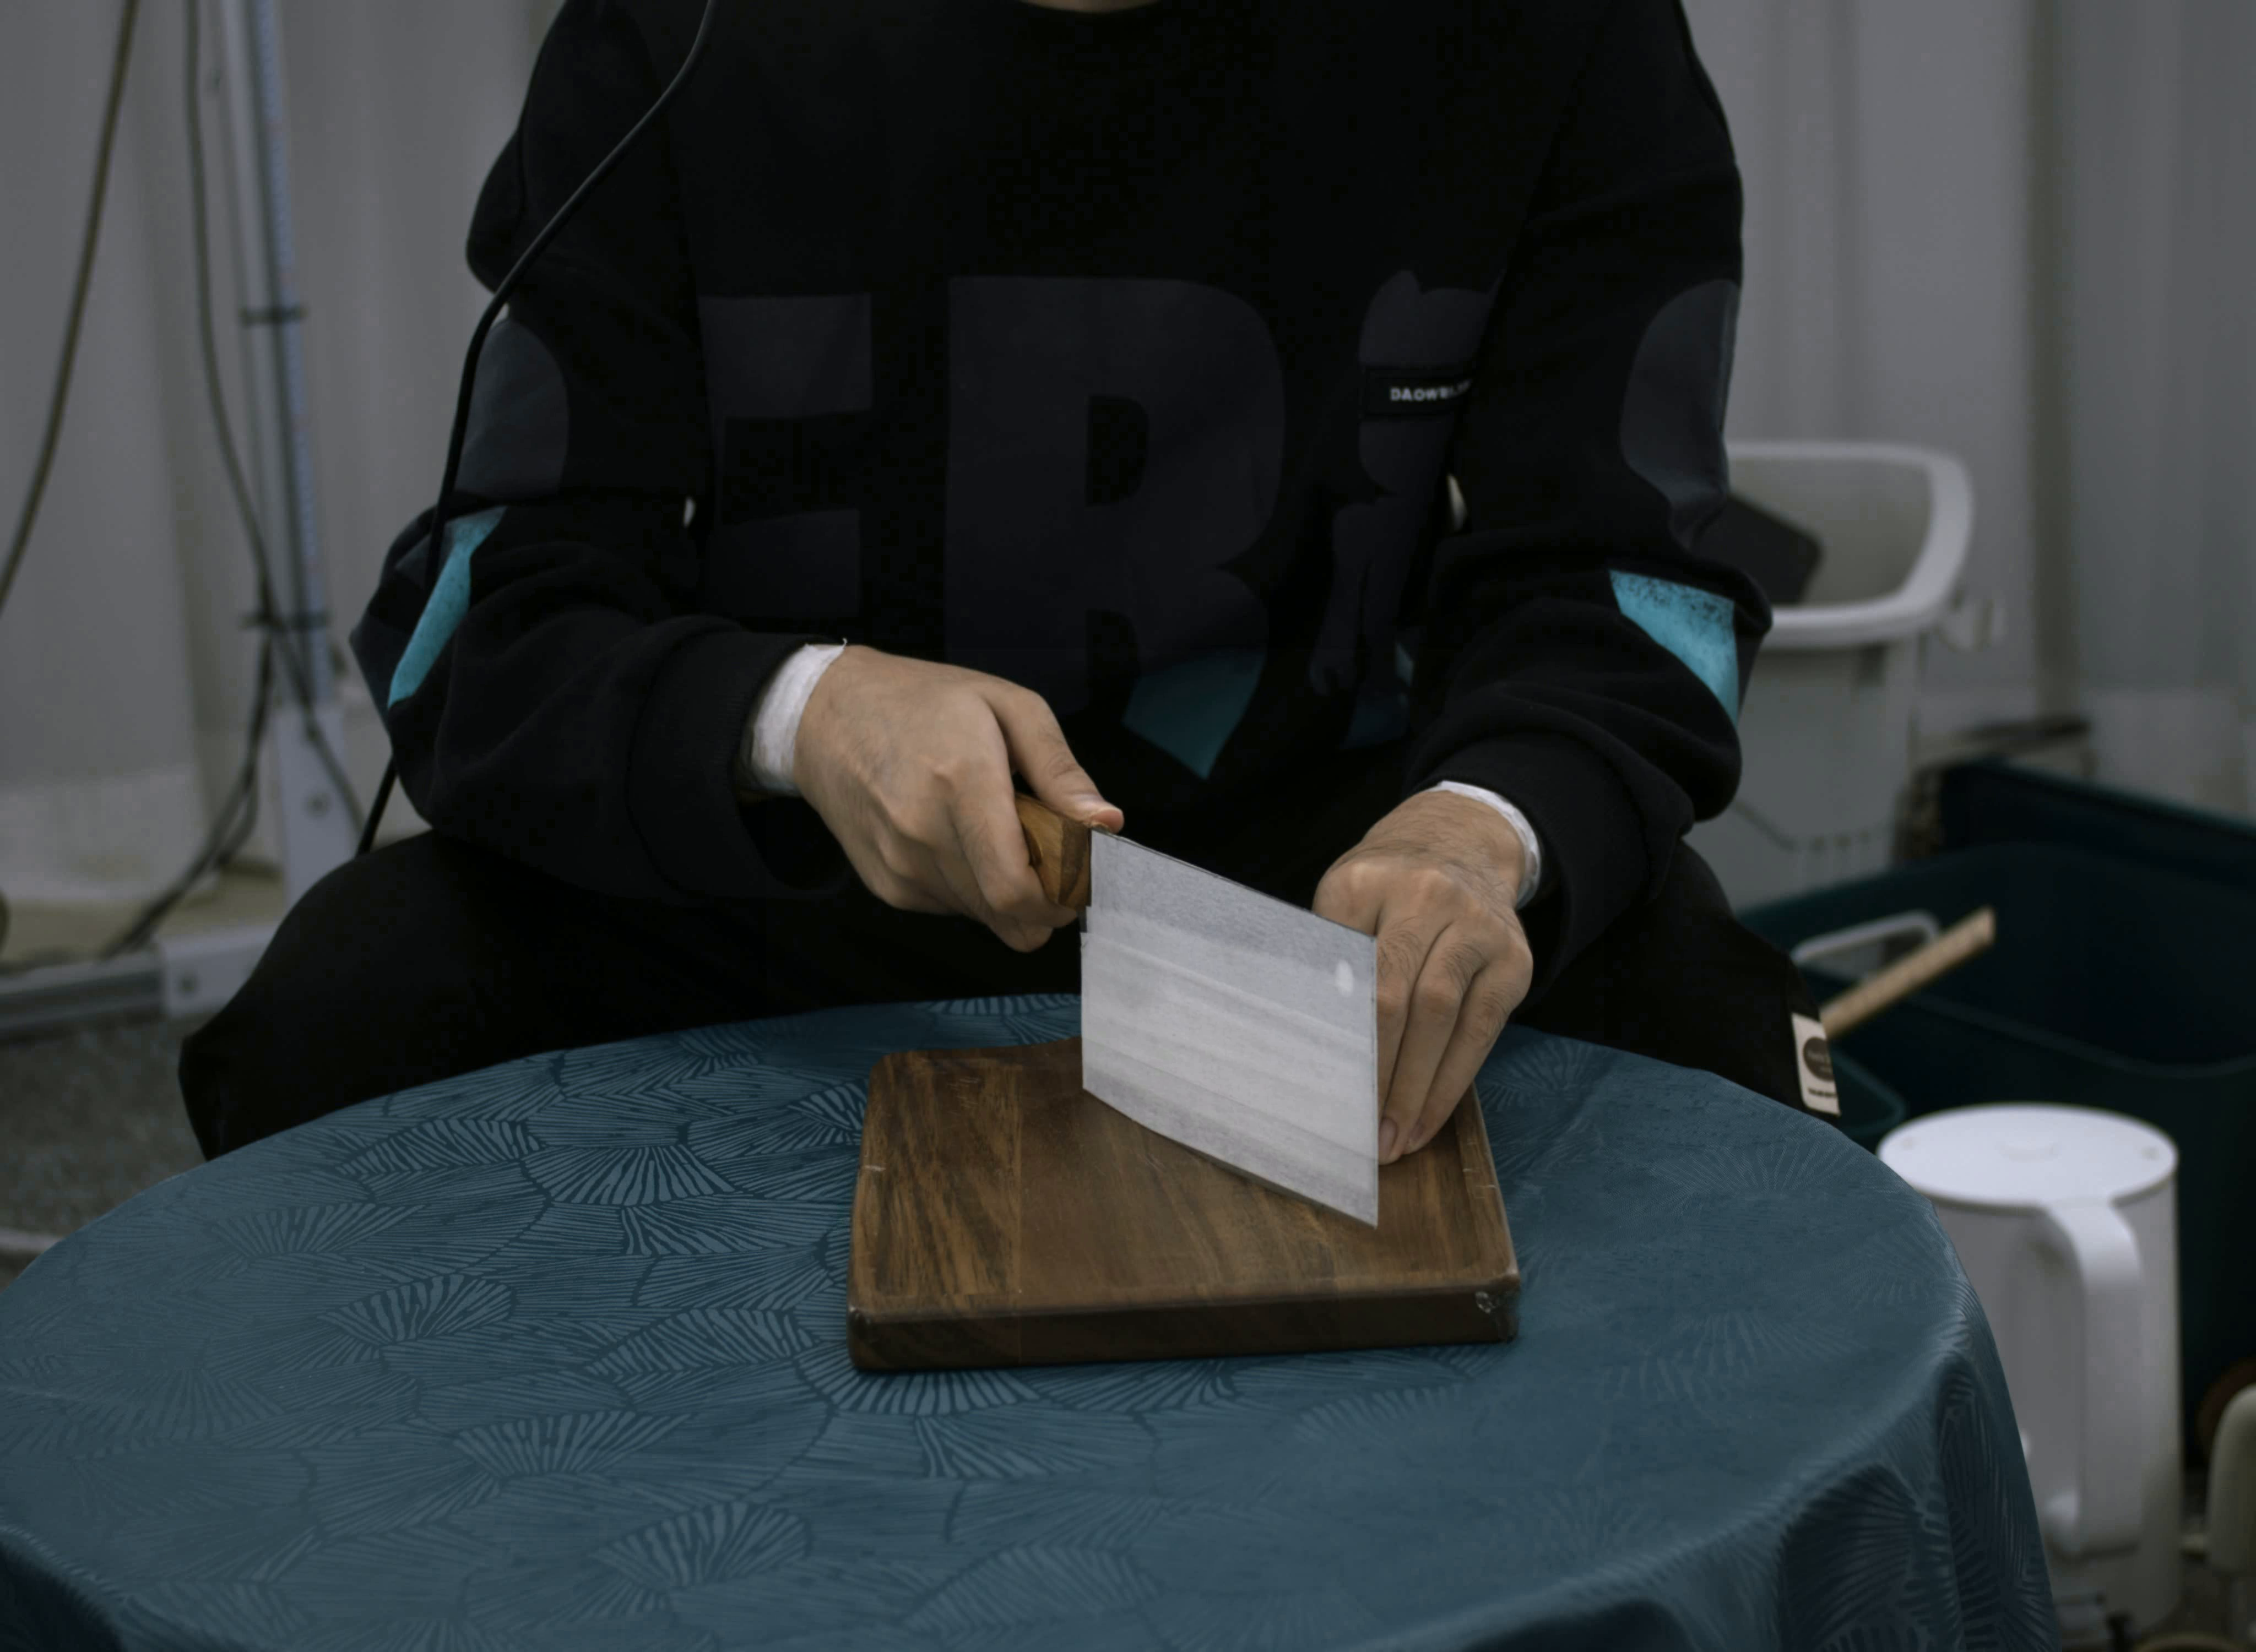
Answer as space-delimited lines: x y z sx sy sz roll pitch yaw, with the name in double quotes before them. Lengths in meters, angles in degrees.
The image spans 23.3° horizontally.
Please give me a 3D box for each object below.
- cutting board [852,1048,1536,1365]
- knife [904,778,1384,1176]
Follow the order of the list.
"cutting board" 0.016 0.102 1.732 0.200 0.023 0.354 -2 13 0
"knife" 0.002 0.047 1.723 0.021 0.092 0.308 -7 13 -27
